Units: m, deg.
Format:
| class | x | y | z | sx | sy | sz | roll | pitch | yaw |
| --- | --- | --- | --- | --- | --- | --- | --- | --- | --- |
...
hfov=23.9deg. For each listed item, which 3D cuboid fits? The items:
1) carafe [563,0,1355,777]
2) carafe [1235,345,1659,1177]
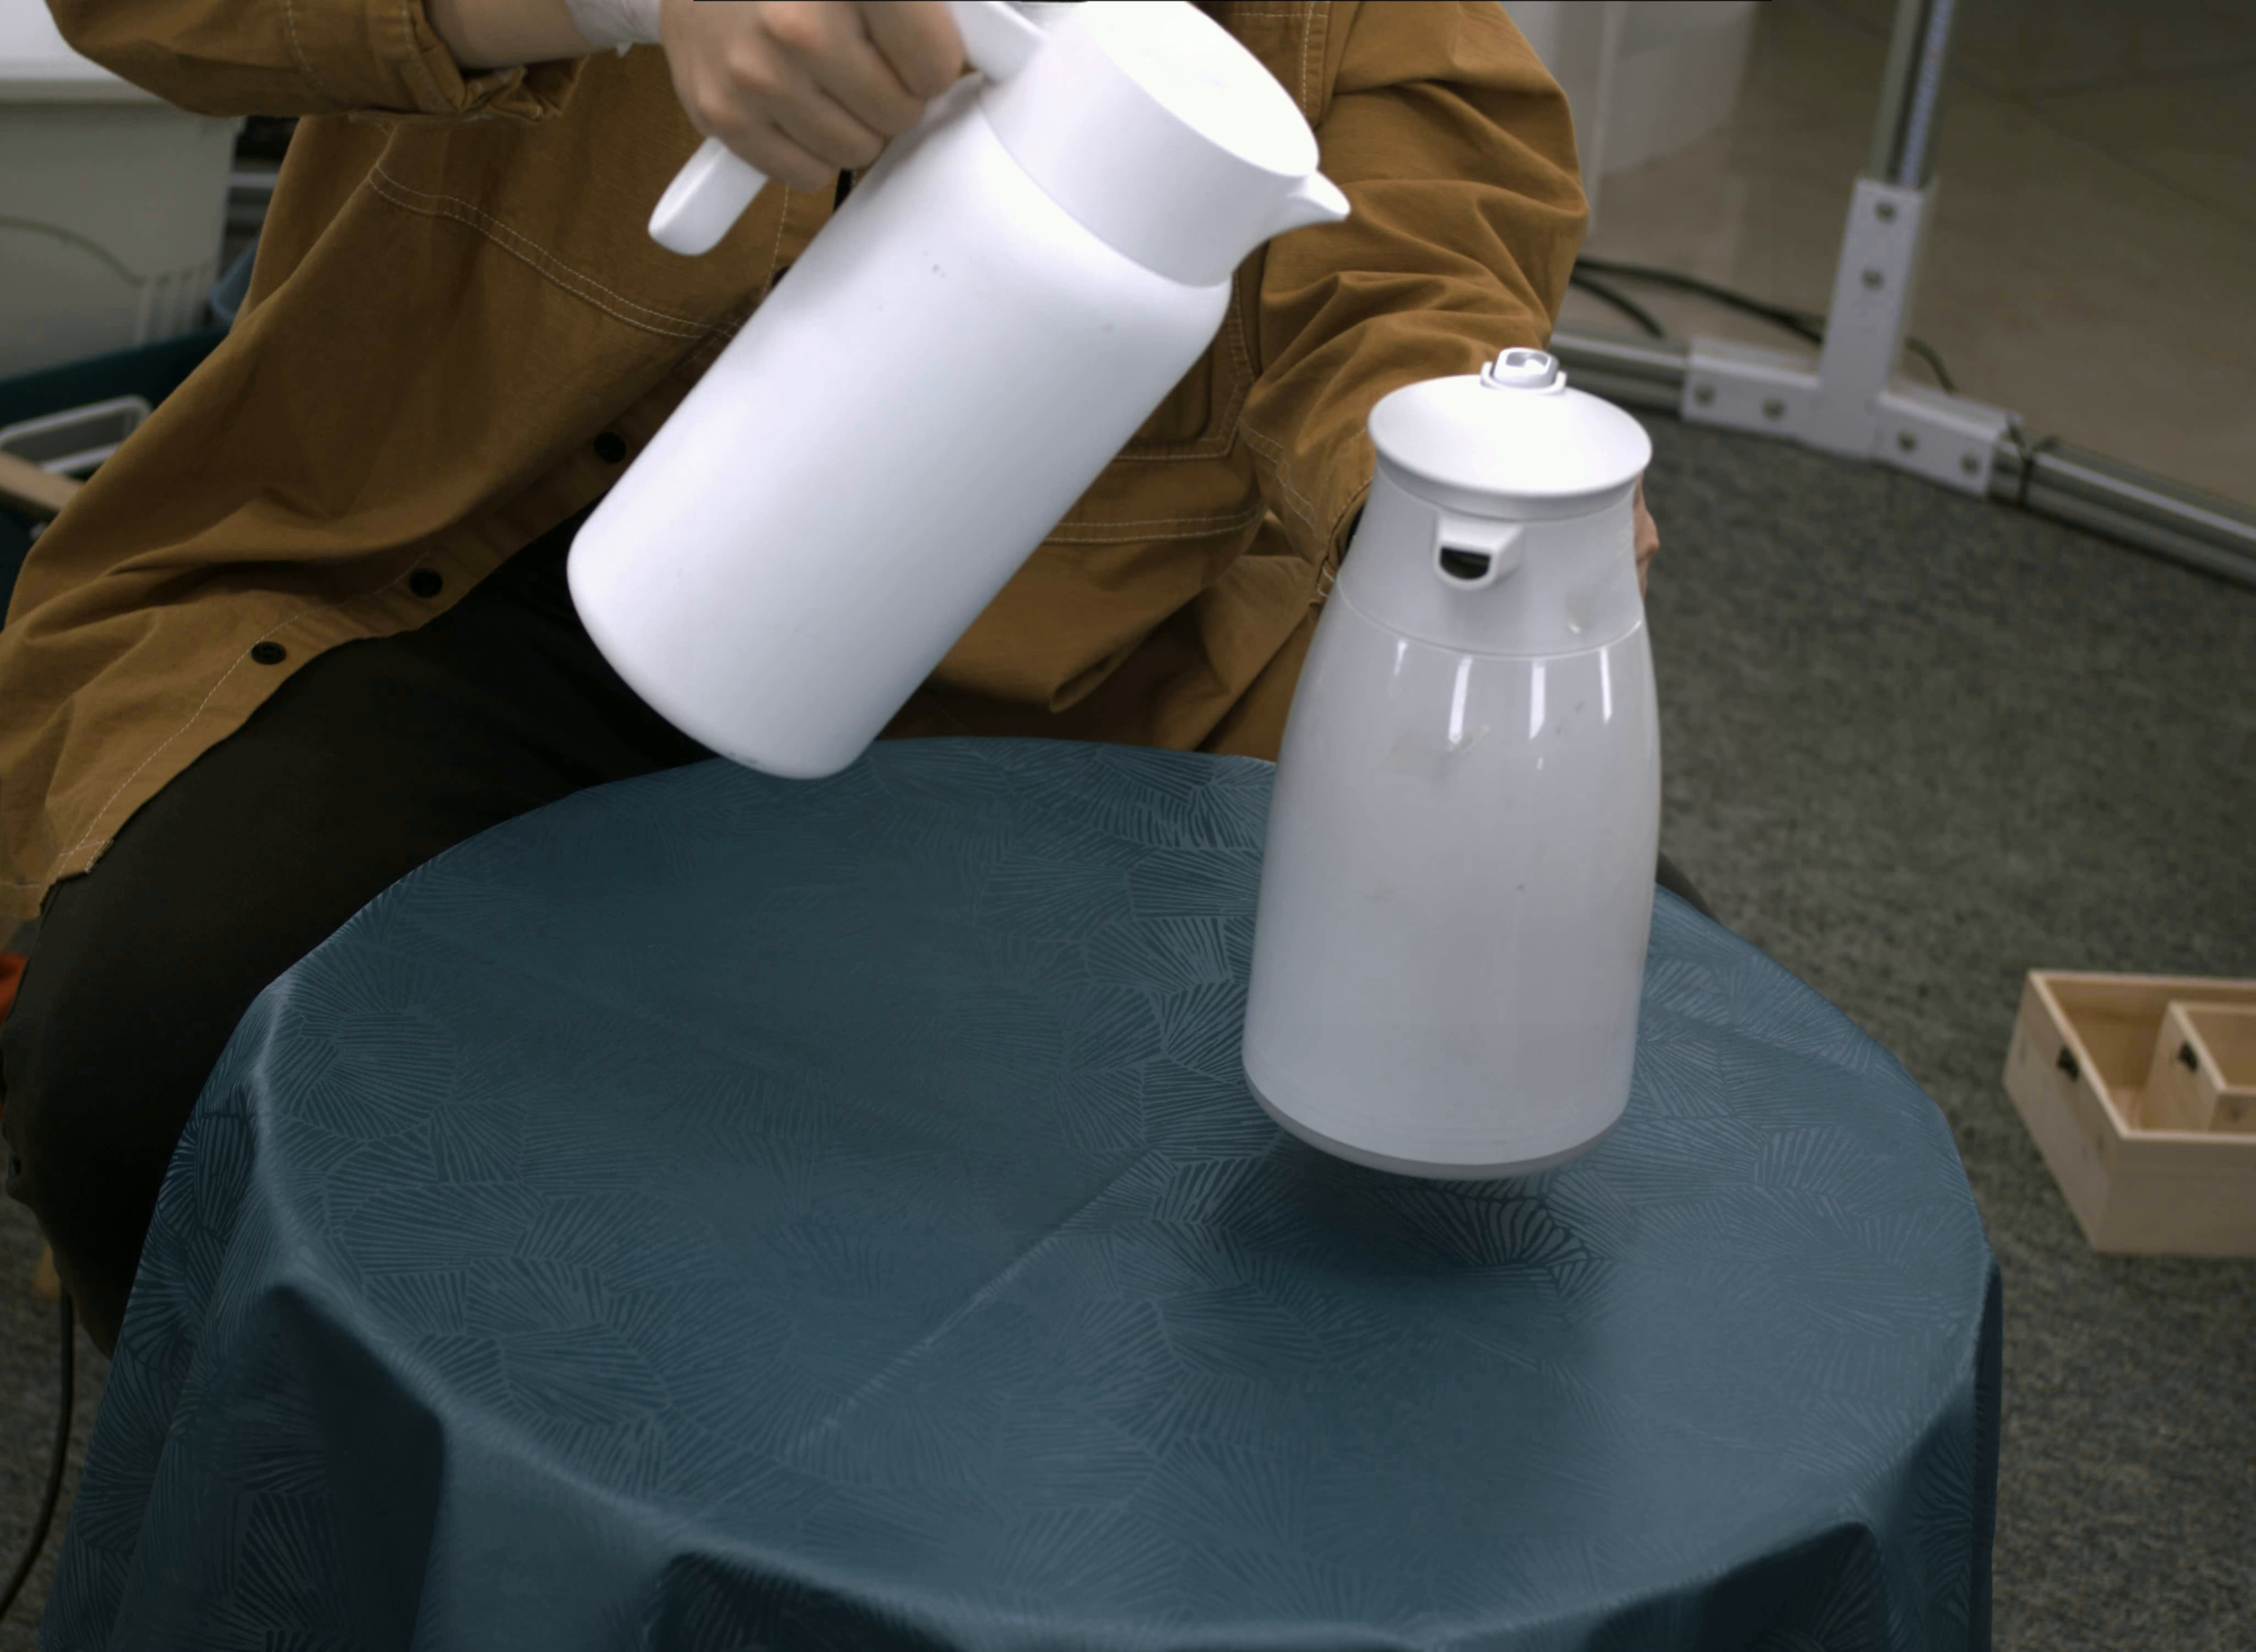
| class | x | y | z | sx | sy | sz | roll | pitch | yaw |
| --- | --- | --- | --- | --- | --- | --- | --- | --- | --- |
| carafe | -0.074 | -0.154 | 1.683 | 0.172 | 0.268 | 0.124 | 33 | 27 | -18 |
| carafe | 0.115 | -0.032 | 1.763 | 0.132 | 0.248 | 0.168 | 10 | 26 | 10 |
